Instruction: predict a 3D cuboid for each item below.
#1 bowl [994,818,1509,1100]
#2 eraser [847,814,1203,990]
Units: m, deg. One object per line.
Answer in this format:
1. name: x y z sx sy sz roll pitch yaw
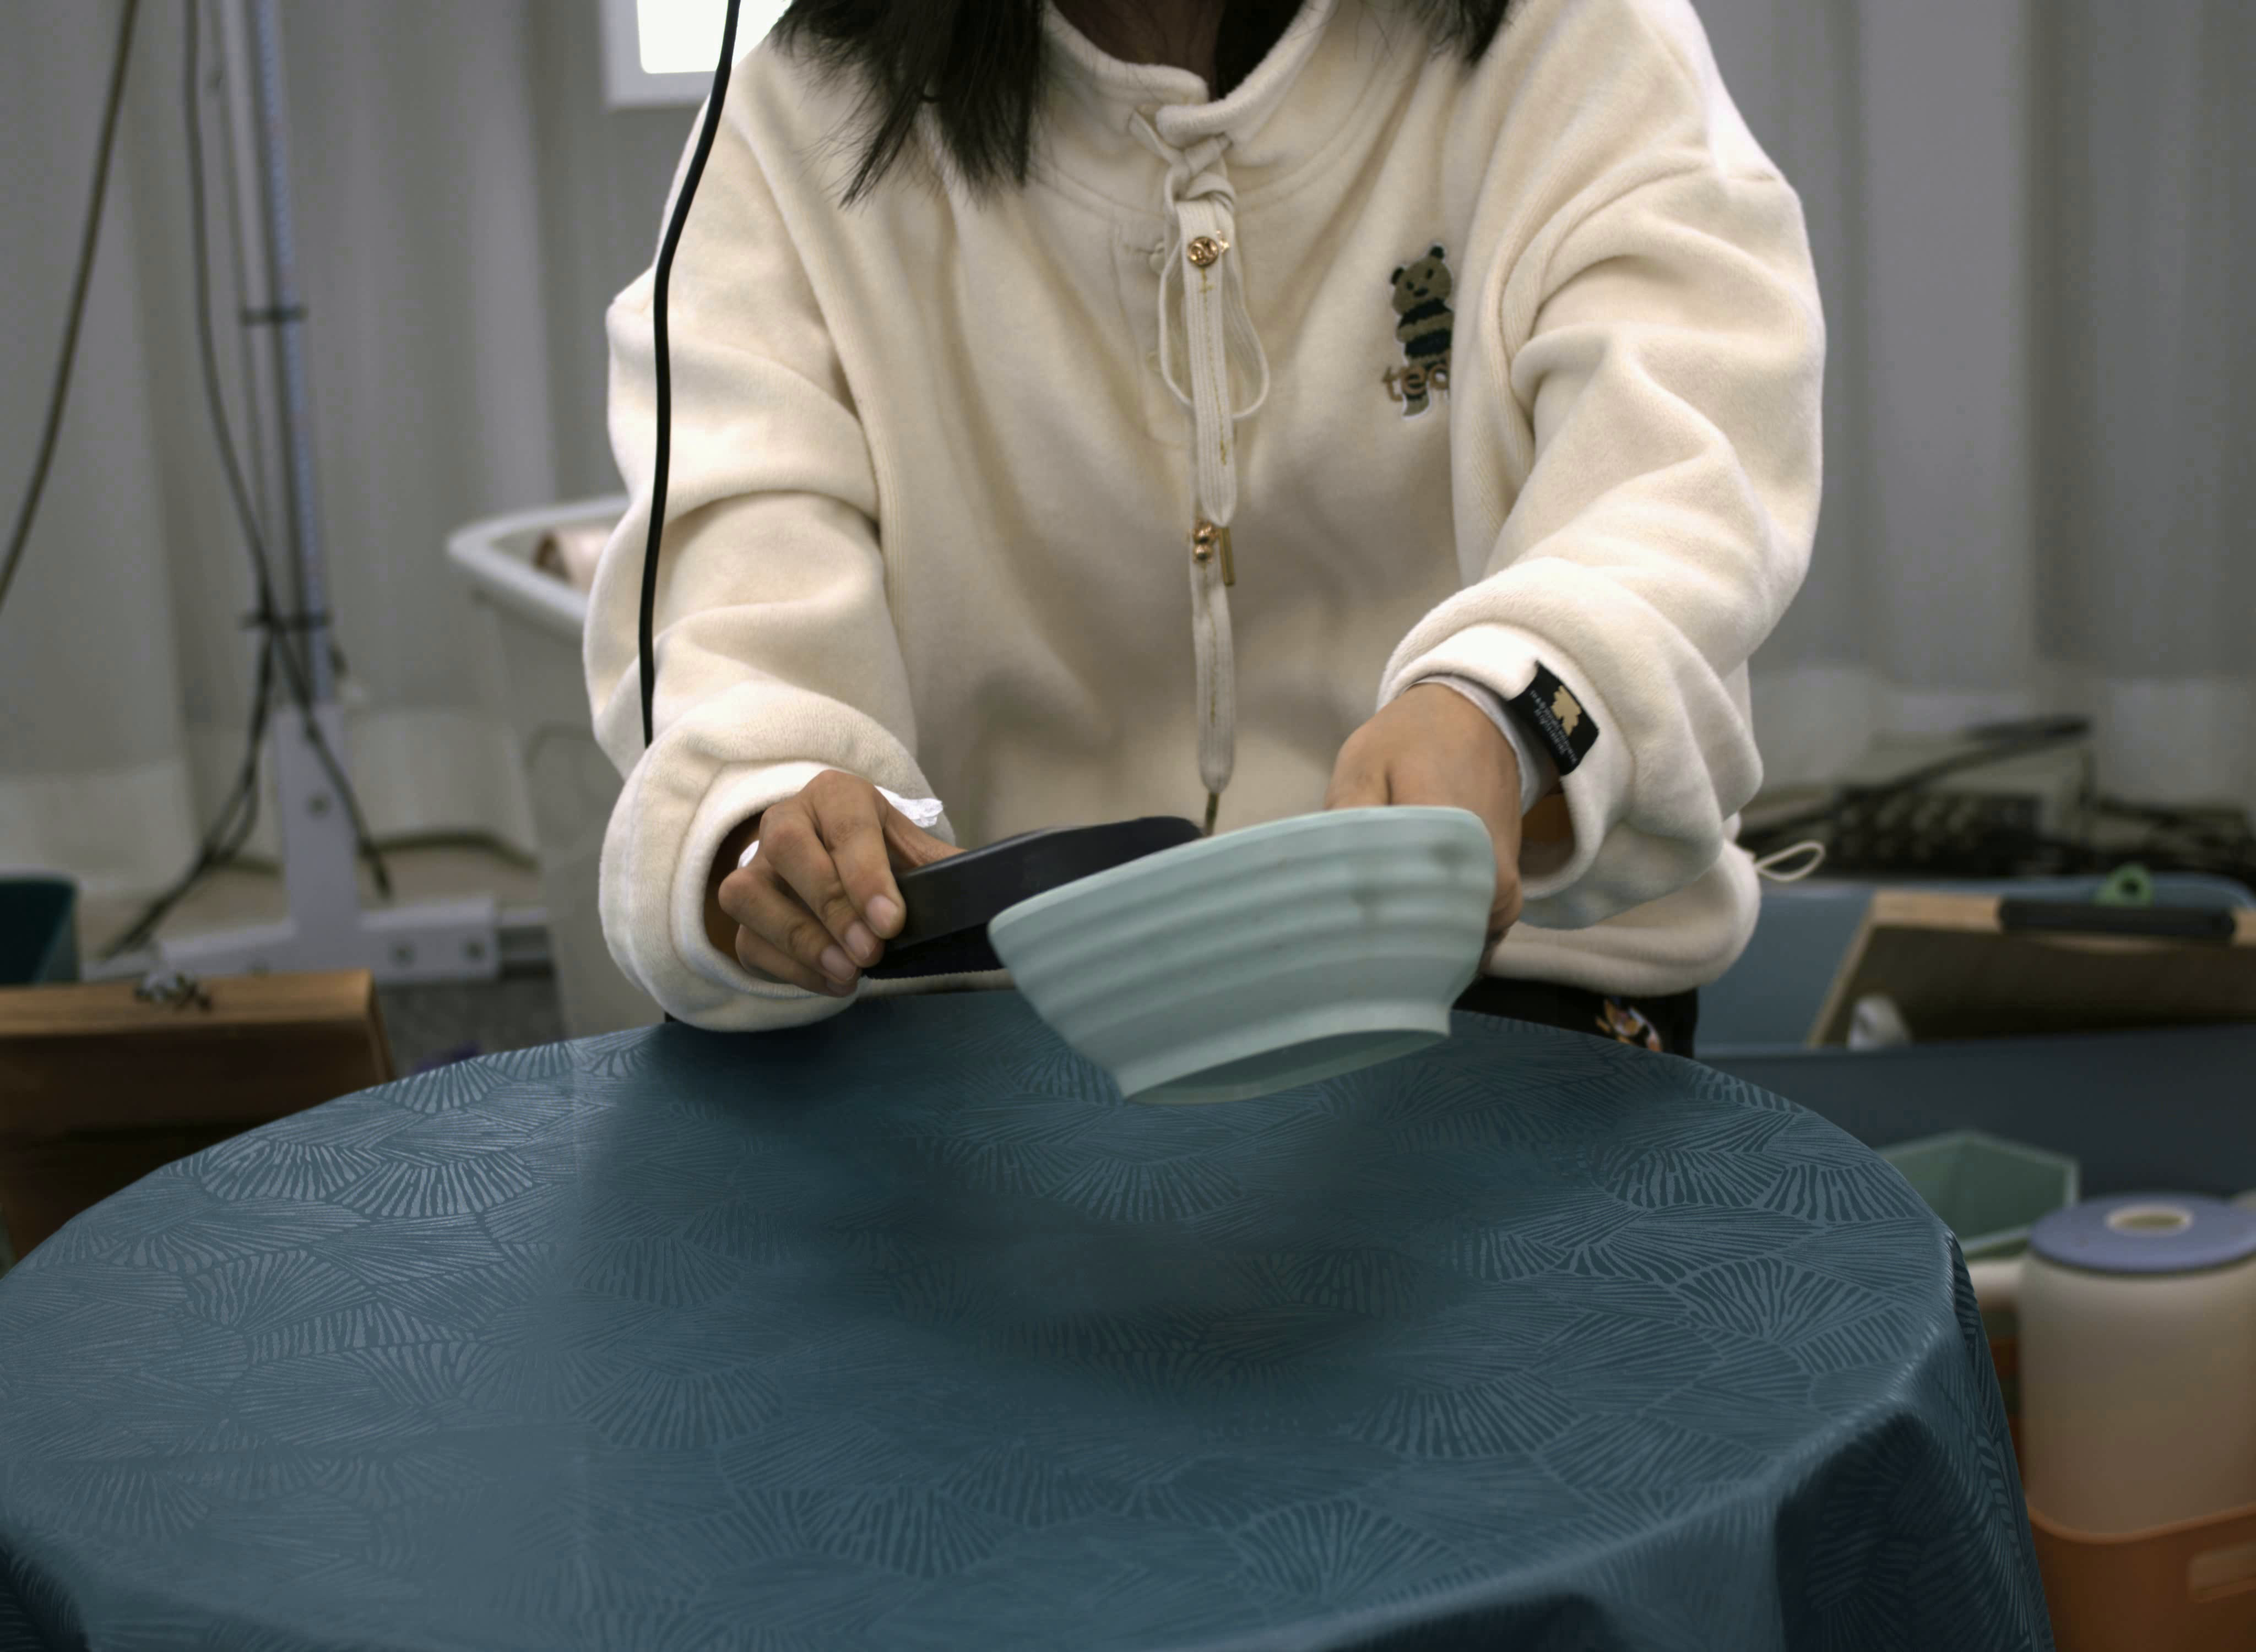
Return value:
1. bowl: 0.040 0.041 1.547 0.151 0.059 0.151 -10 -9 -2
2. eraser: -0.030 0.023 1.612 0.053 0.031 0.125 -2 -11 -32
